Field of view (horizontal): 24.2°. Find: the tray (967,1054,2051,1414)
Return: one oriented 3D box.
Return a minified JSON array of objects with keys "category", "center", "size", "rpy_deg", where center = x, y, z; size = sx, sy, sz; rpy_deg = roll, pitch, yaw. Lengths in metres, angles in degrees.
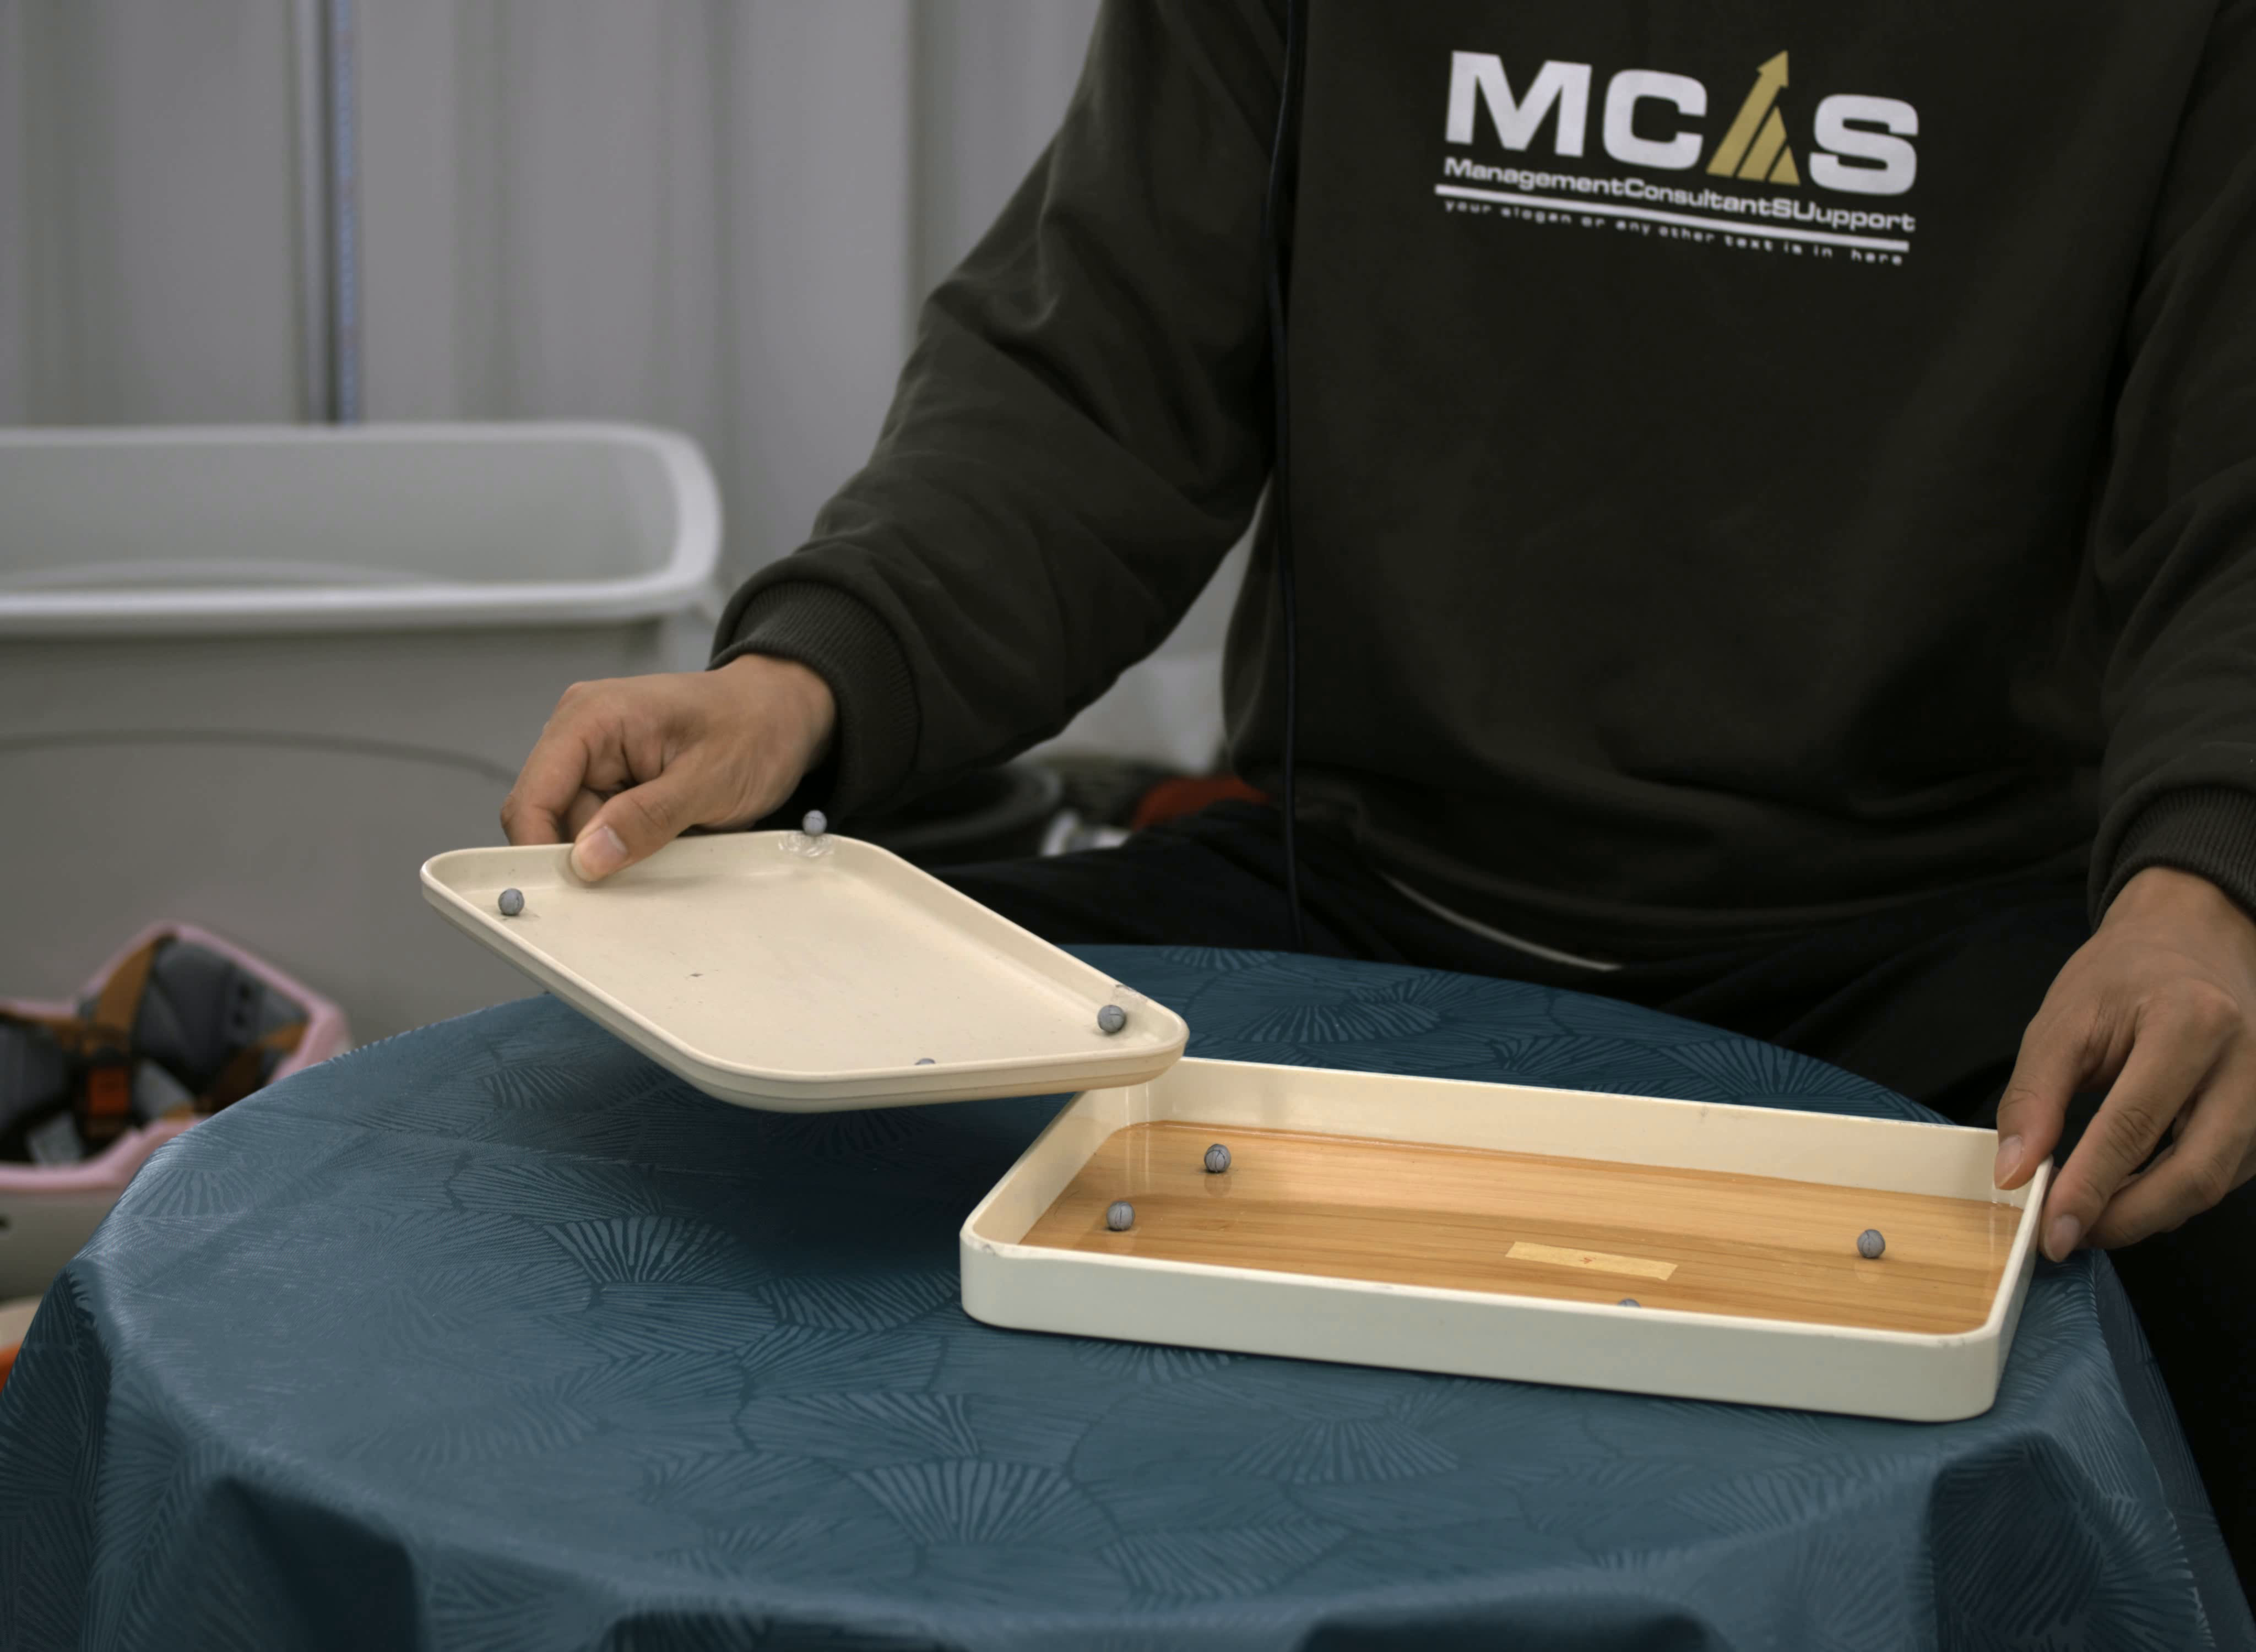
[{"category":"tray","center":[0.117,0.118,1.566],"size":[0.298,0.027,0.191],"rpy_deg":[5,16,13]}]

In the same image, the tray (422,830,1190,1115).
[{"category":"tray","center":[-0.104,0.044,1.646],"size":[0.172,0.017,0.236],"rpy_deg":[-4,18,-33]}]
